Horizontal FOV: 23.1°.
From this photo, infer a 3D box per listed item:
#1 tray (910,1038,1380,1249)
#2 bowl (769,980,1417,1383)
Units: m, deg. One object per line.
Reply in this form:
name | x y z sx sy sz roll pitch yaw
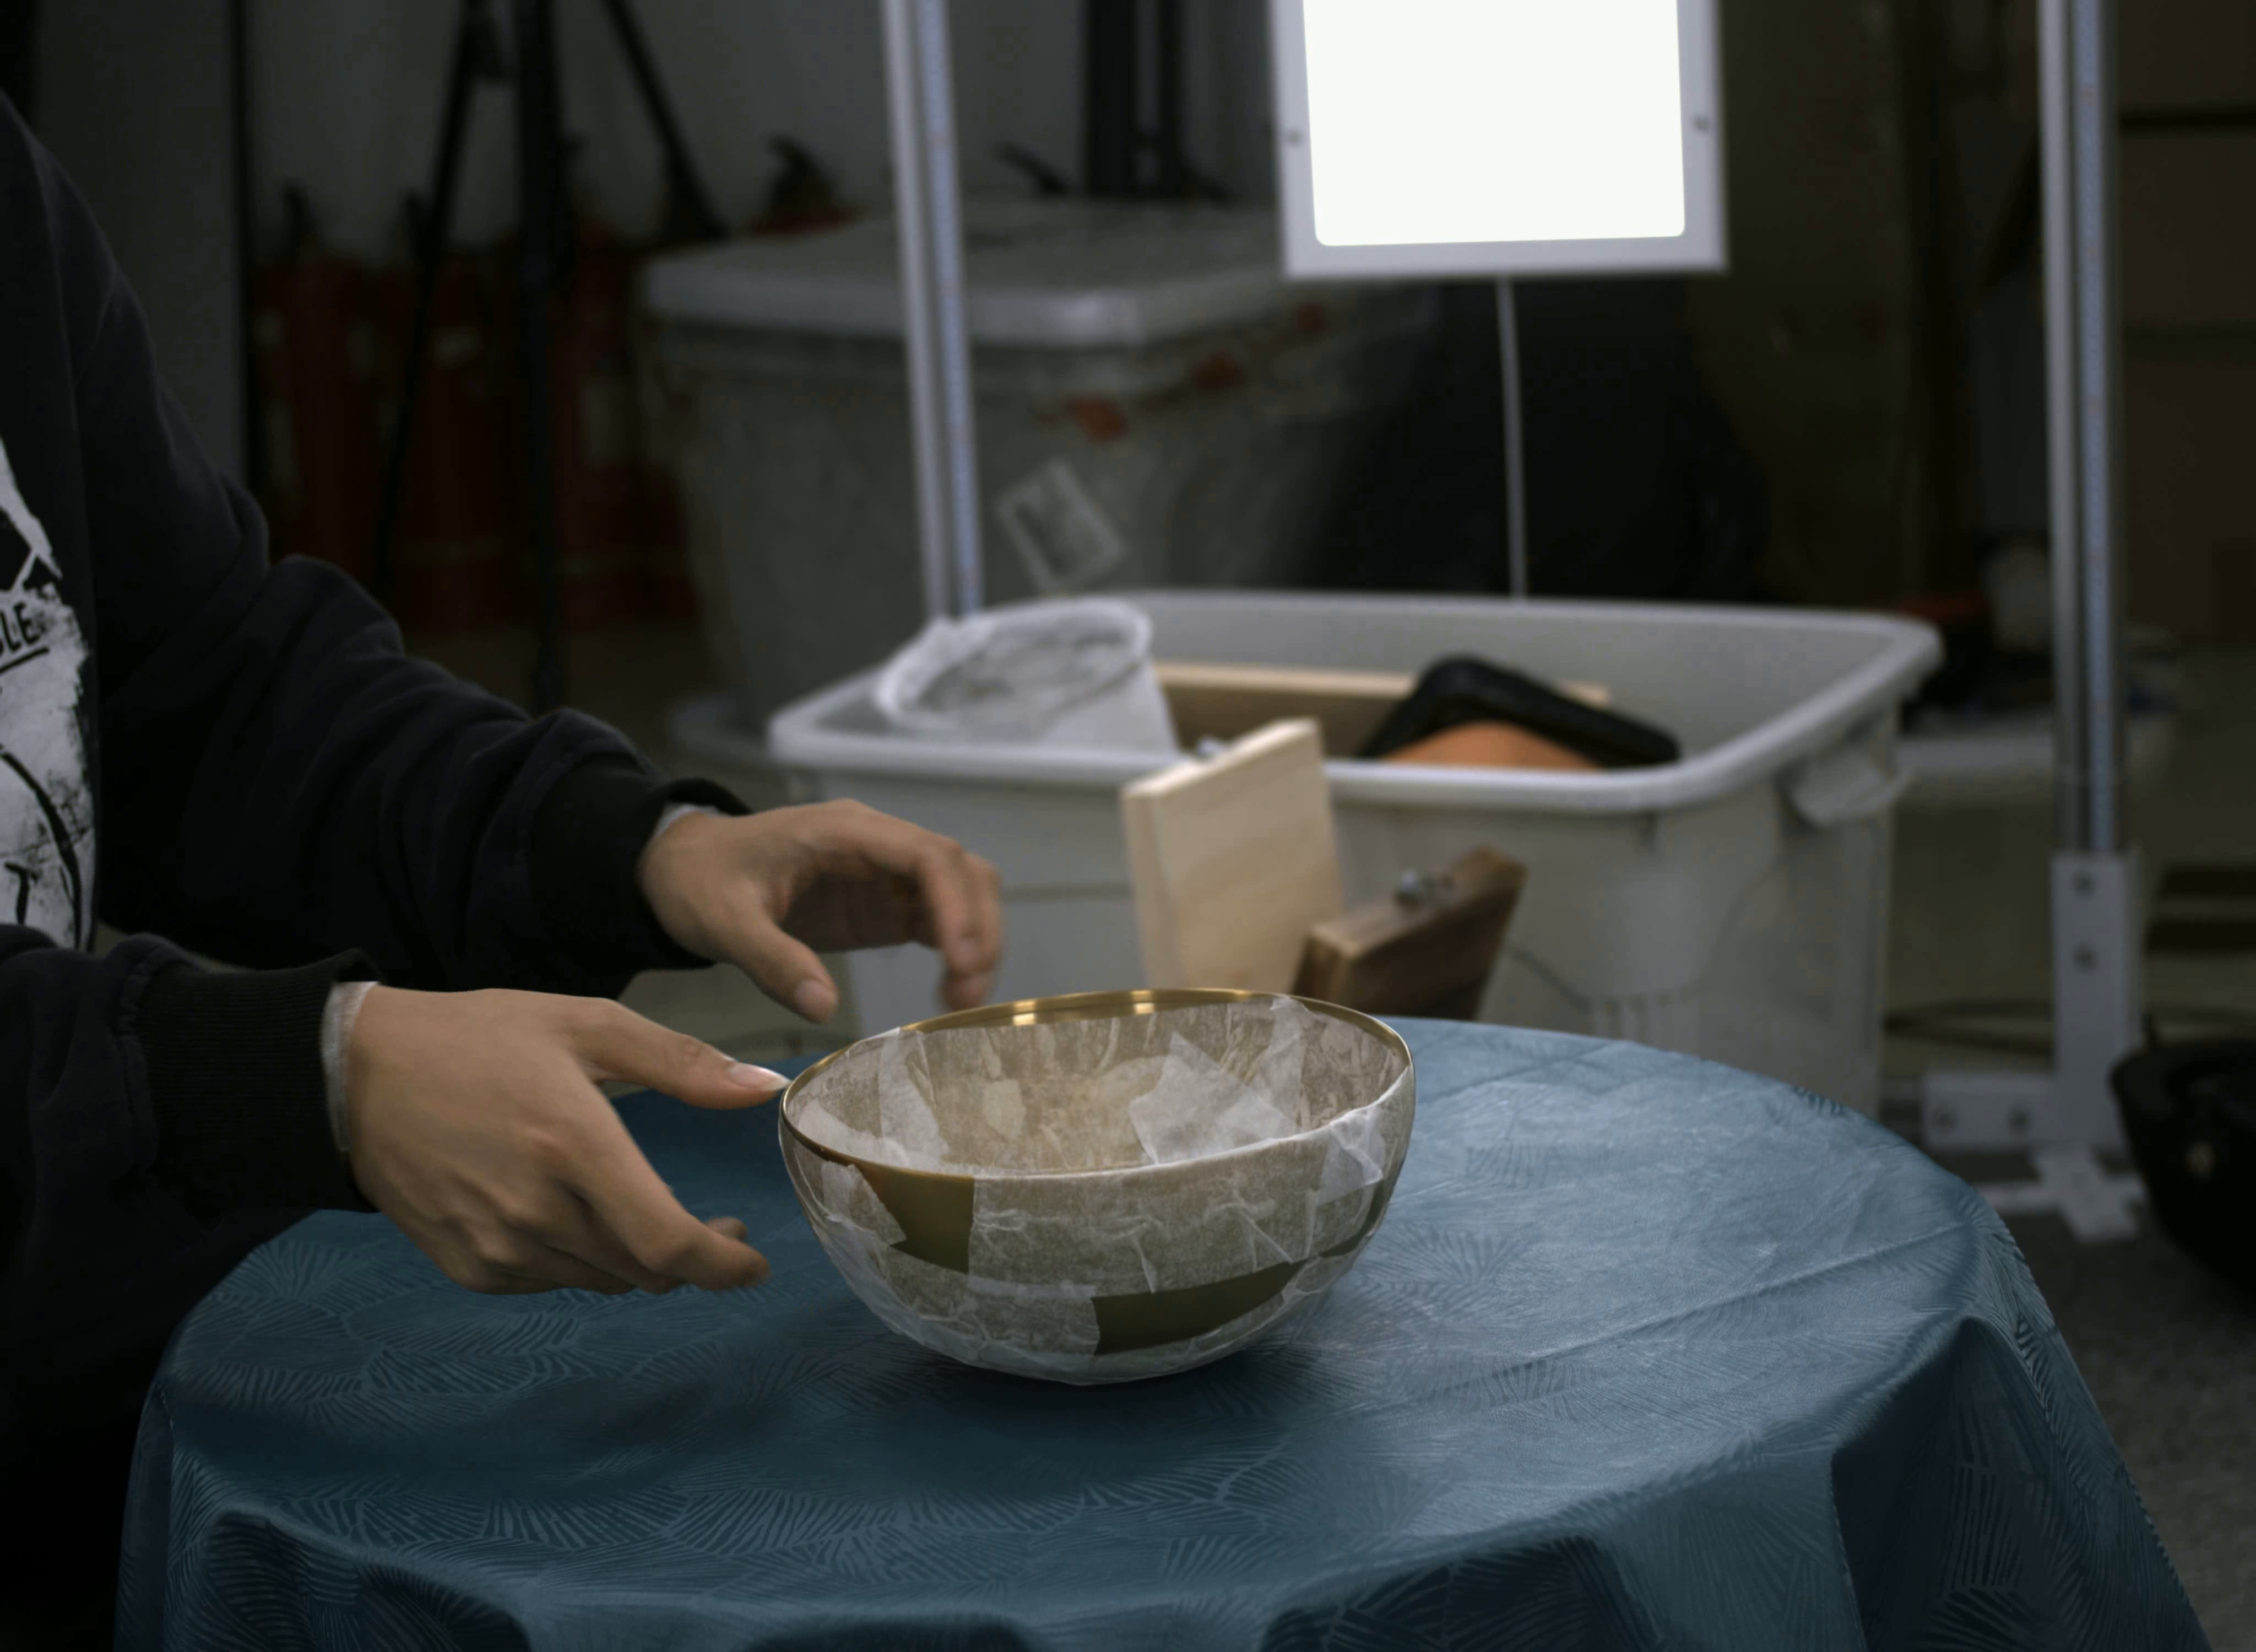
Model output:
tray | 0.004 0.110 1.932 0.099 0.020 0.235 -14 18 -26
bowl | -0.007 0.119 1.736 0.214 0.095 0.214 -6 14 0
